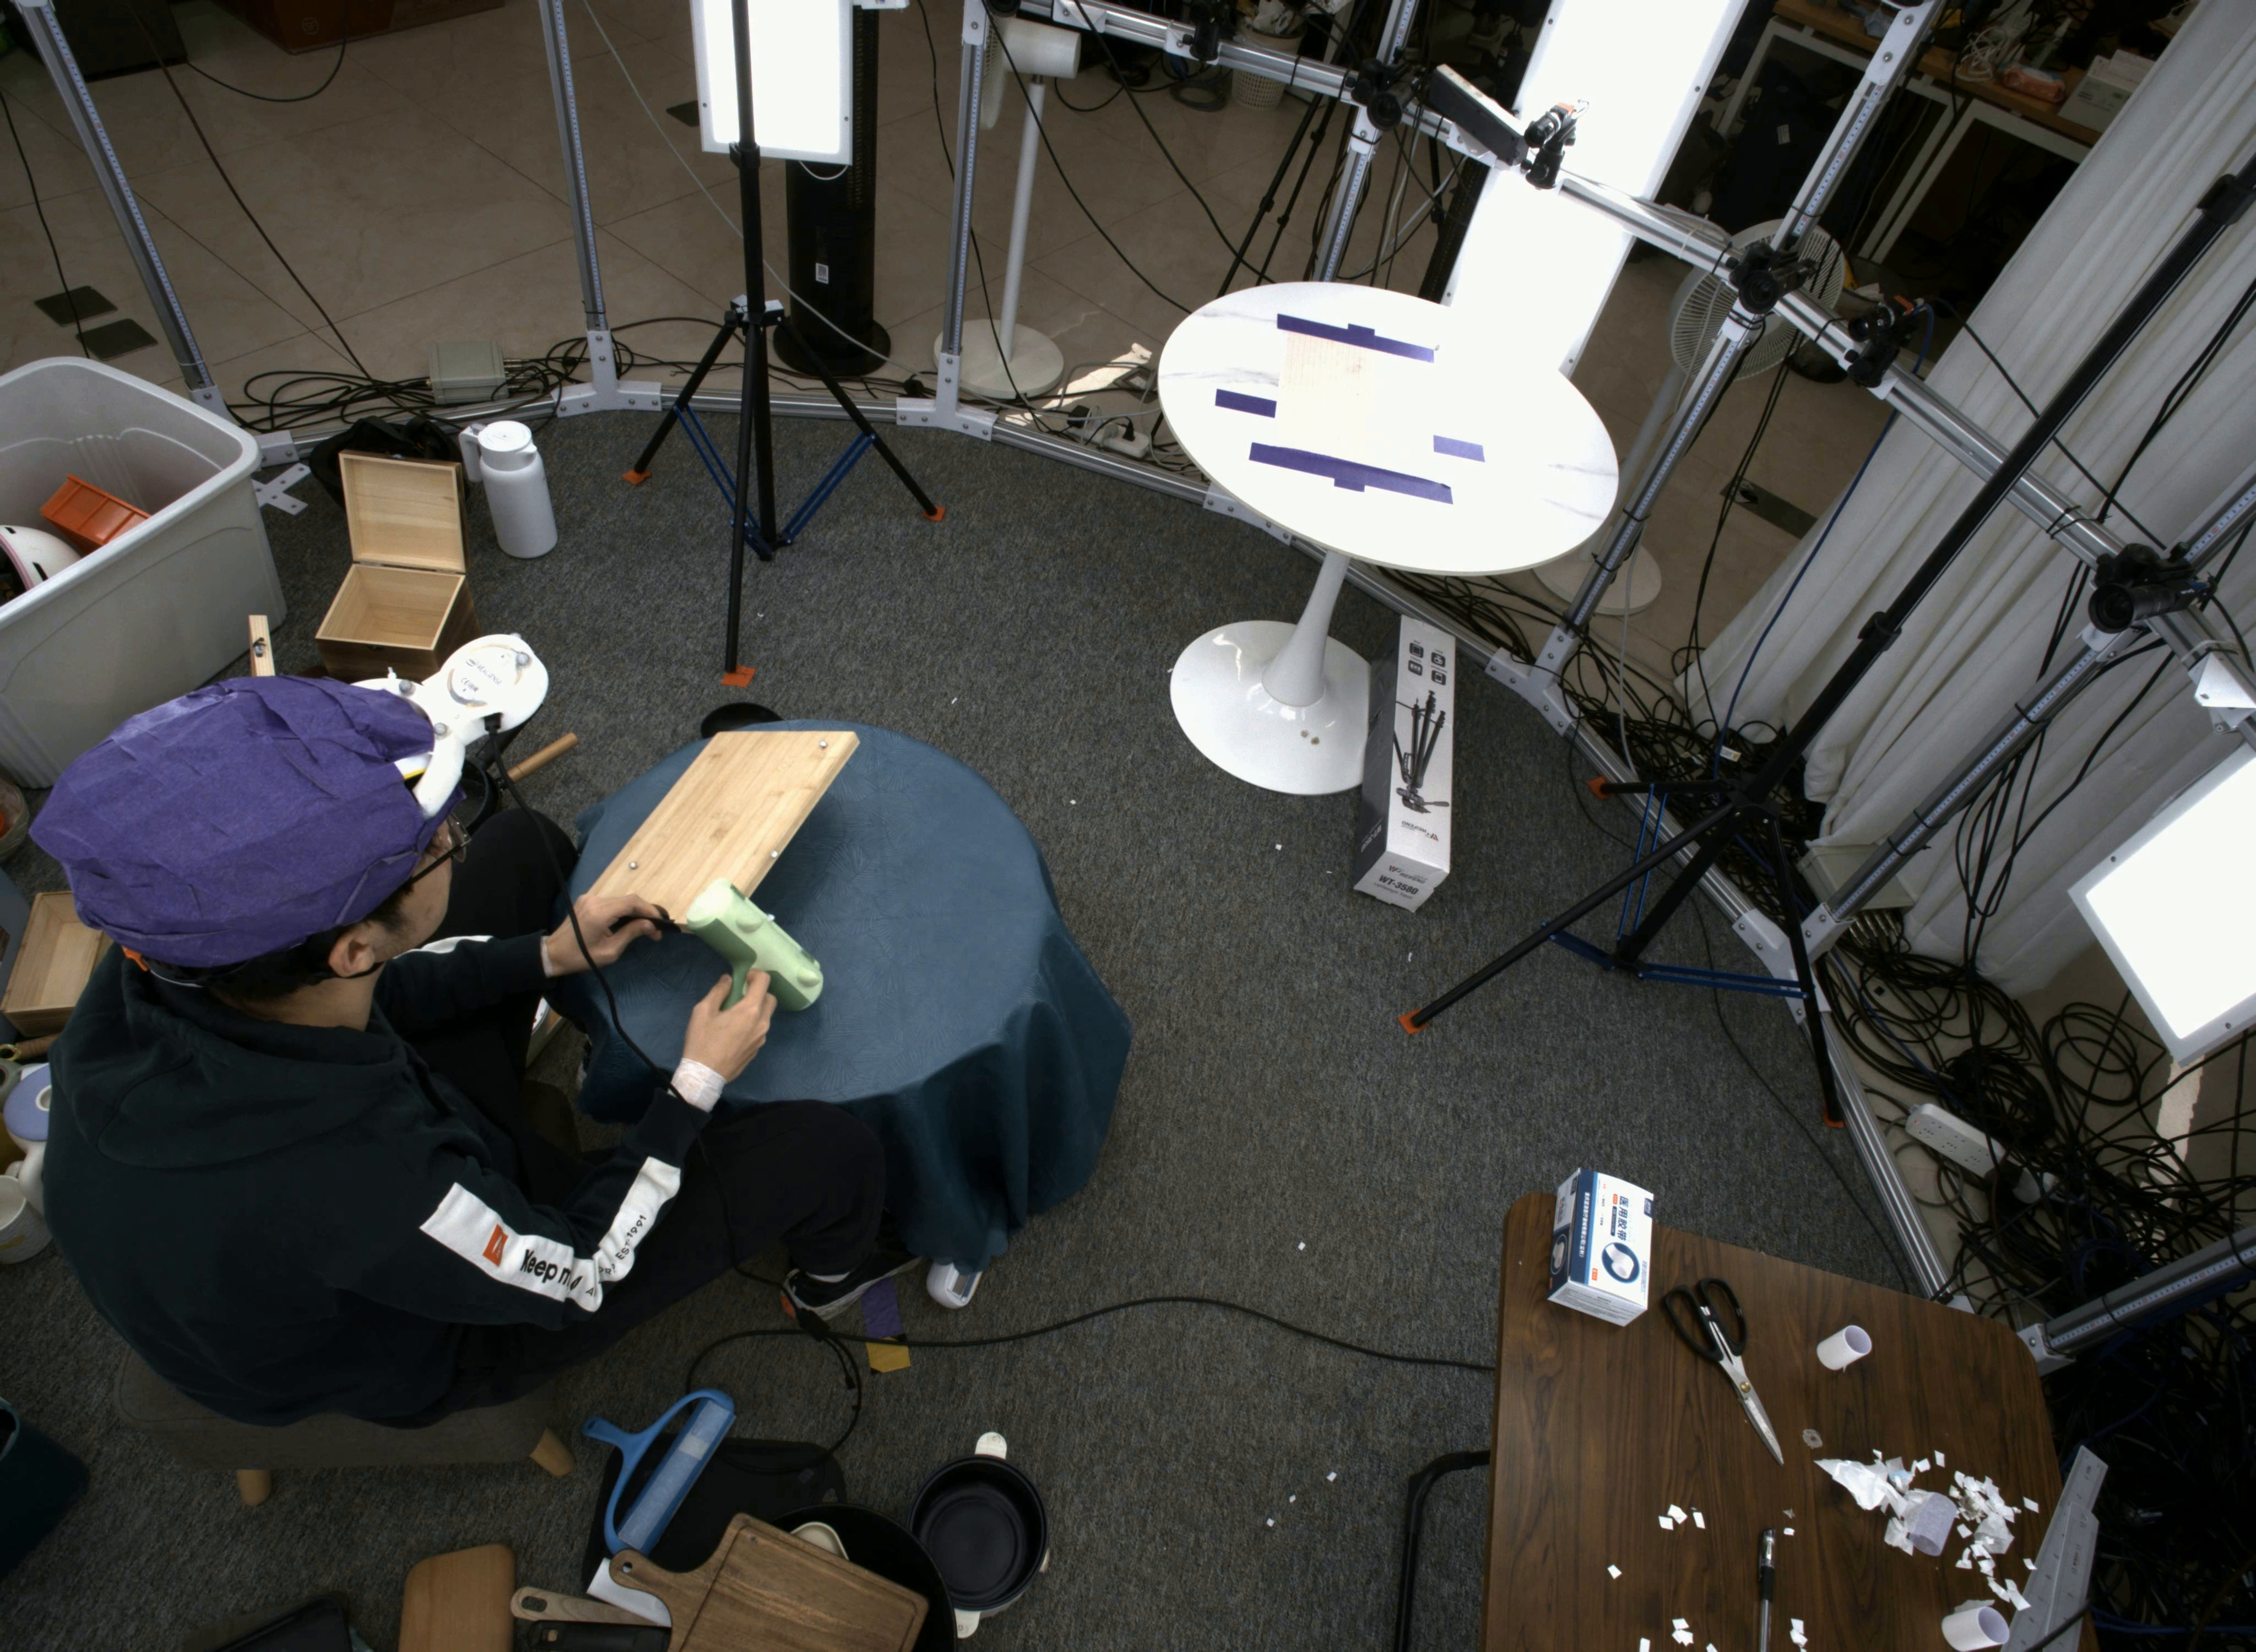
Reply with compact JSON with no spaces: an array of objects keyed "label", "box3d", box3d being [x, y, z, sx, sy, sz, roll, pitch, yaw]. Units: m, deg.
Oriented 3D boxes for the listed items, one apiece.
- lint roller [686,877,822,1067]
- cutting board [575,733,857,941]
[{"label":"lint roller","box3d":[-0.423,0.181,1.453,0.080,0.206,0.180,-13,48,20]},{"label":"cutting board","box3d":[-0.517,0.001,1.620,0.243,0.024,0.345,1,45,26]}]
